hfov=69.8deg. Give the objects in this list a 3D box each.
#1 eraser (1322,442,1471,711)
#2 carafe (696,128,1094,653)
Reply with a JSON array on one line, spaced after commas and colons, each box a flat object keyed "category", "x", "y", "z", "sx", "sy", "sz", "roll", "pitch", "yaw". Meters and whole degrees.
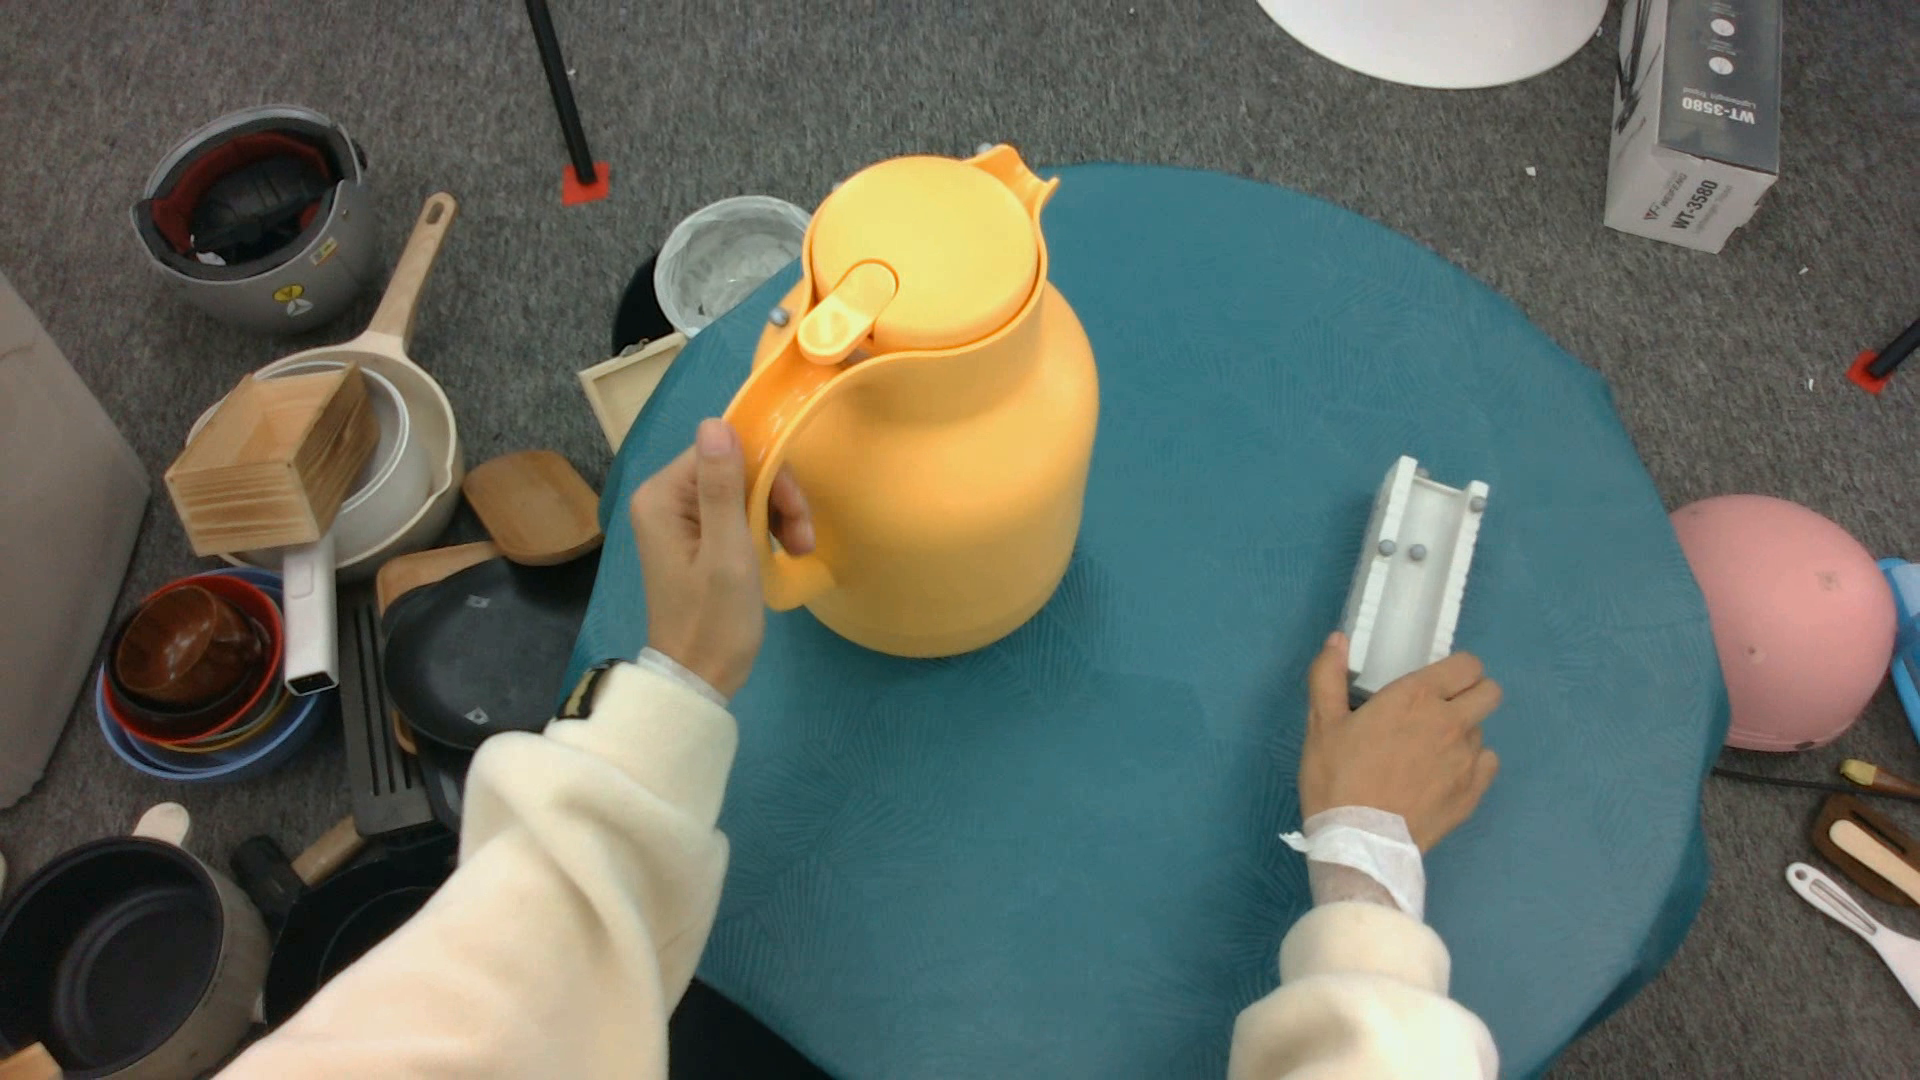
[{"category": "eraser", "x": 0.230, "y": 0.019, "z": 0.728, "sx": 0.050, "sy": 0.046, "sz": 0.135, "roll": 20, "pitch": 62, "yaw": 1}, {"category": "carafe", "x": -0.034, "y": -0.053, "z": 0.632, "sx": 0.163, "sy": 0.259, "sz": 0.203, "roll": 37, "pitch": 66, "yaw": 19}]
